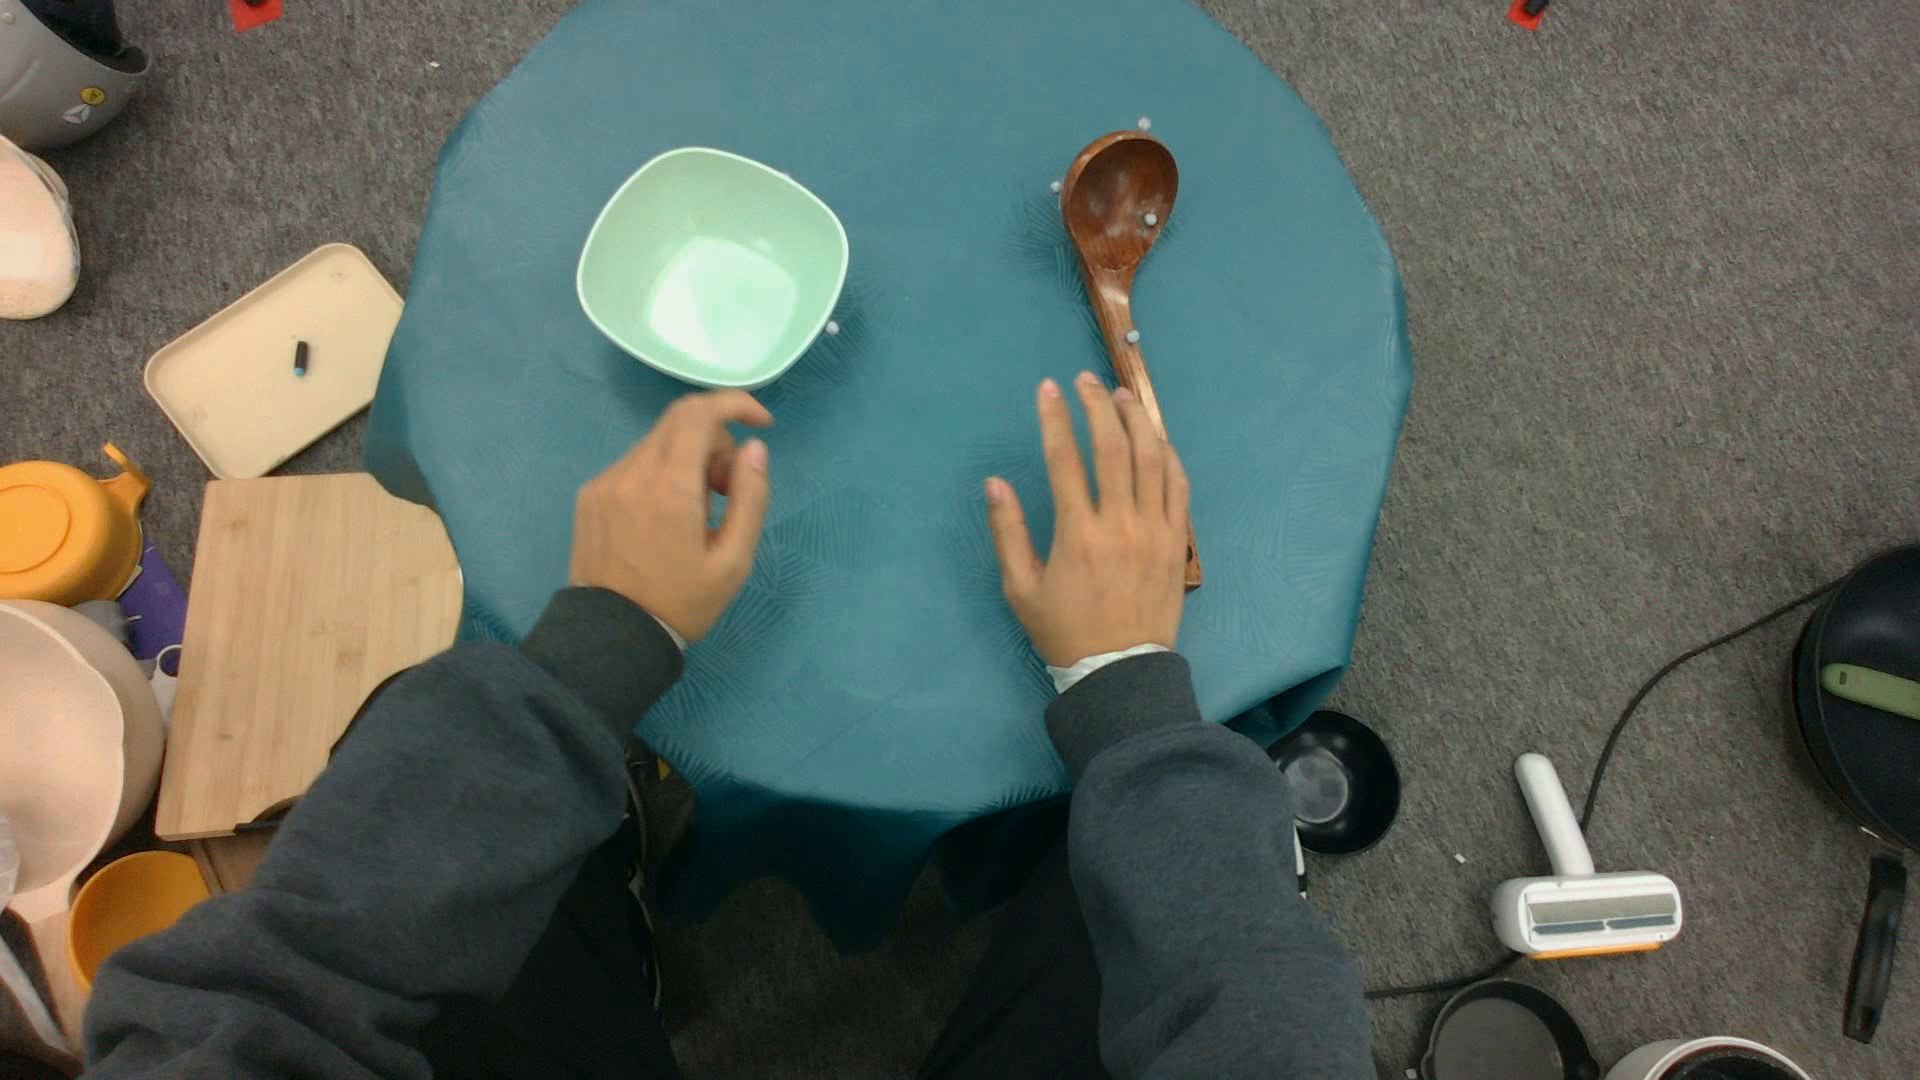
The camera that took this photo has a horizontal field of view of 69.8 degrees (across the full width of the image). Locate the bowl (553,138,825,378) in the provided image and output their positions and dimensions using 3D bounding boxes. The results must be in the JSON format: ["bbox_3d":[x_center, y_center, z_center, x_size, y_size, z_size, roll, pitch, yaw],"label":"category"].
[{"bbox_3d":[-0.152,-0.151,0.789,0.151,0.058,0.152,3,69,-7],"label":"bowl"}]

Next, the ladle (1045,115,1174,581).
[{"bbox_3d":[0.106,-0.117,0.801,0.082,0.076,0.274,1,68,-33],"label":"ladle"}]
